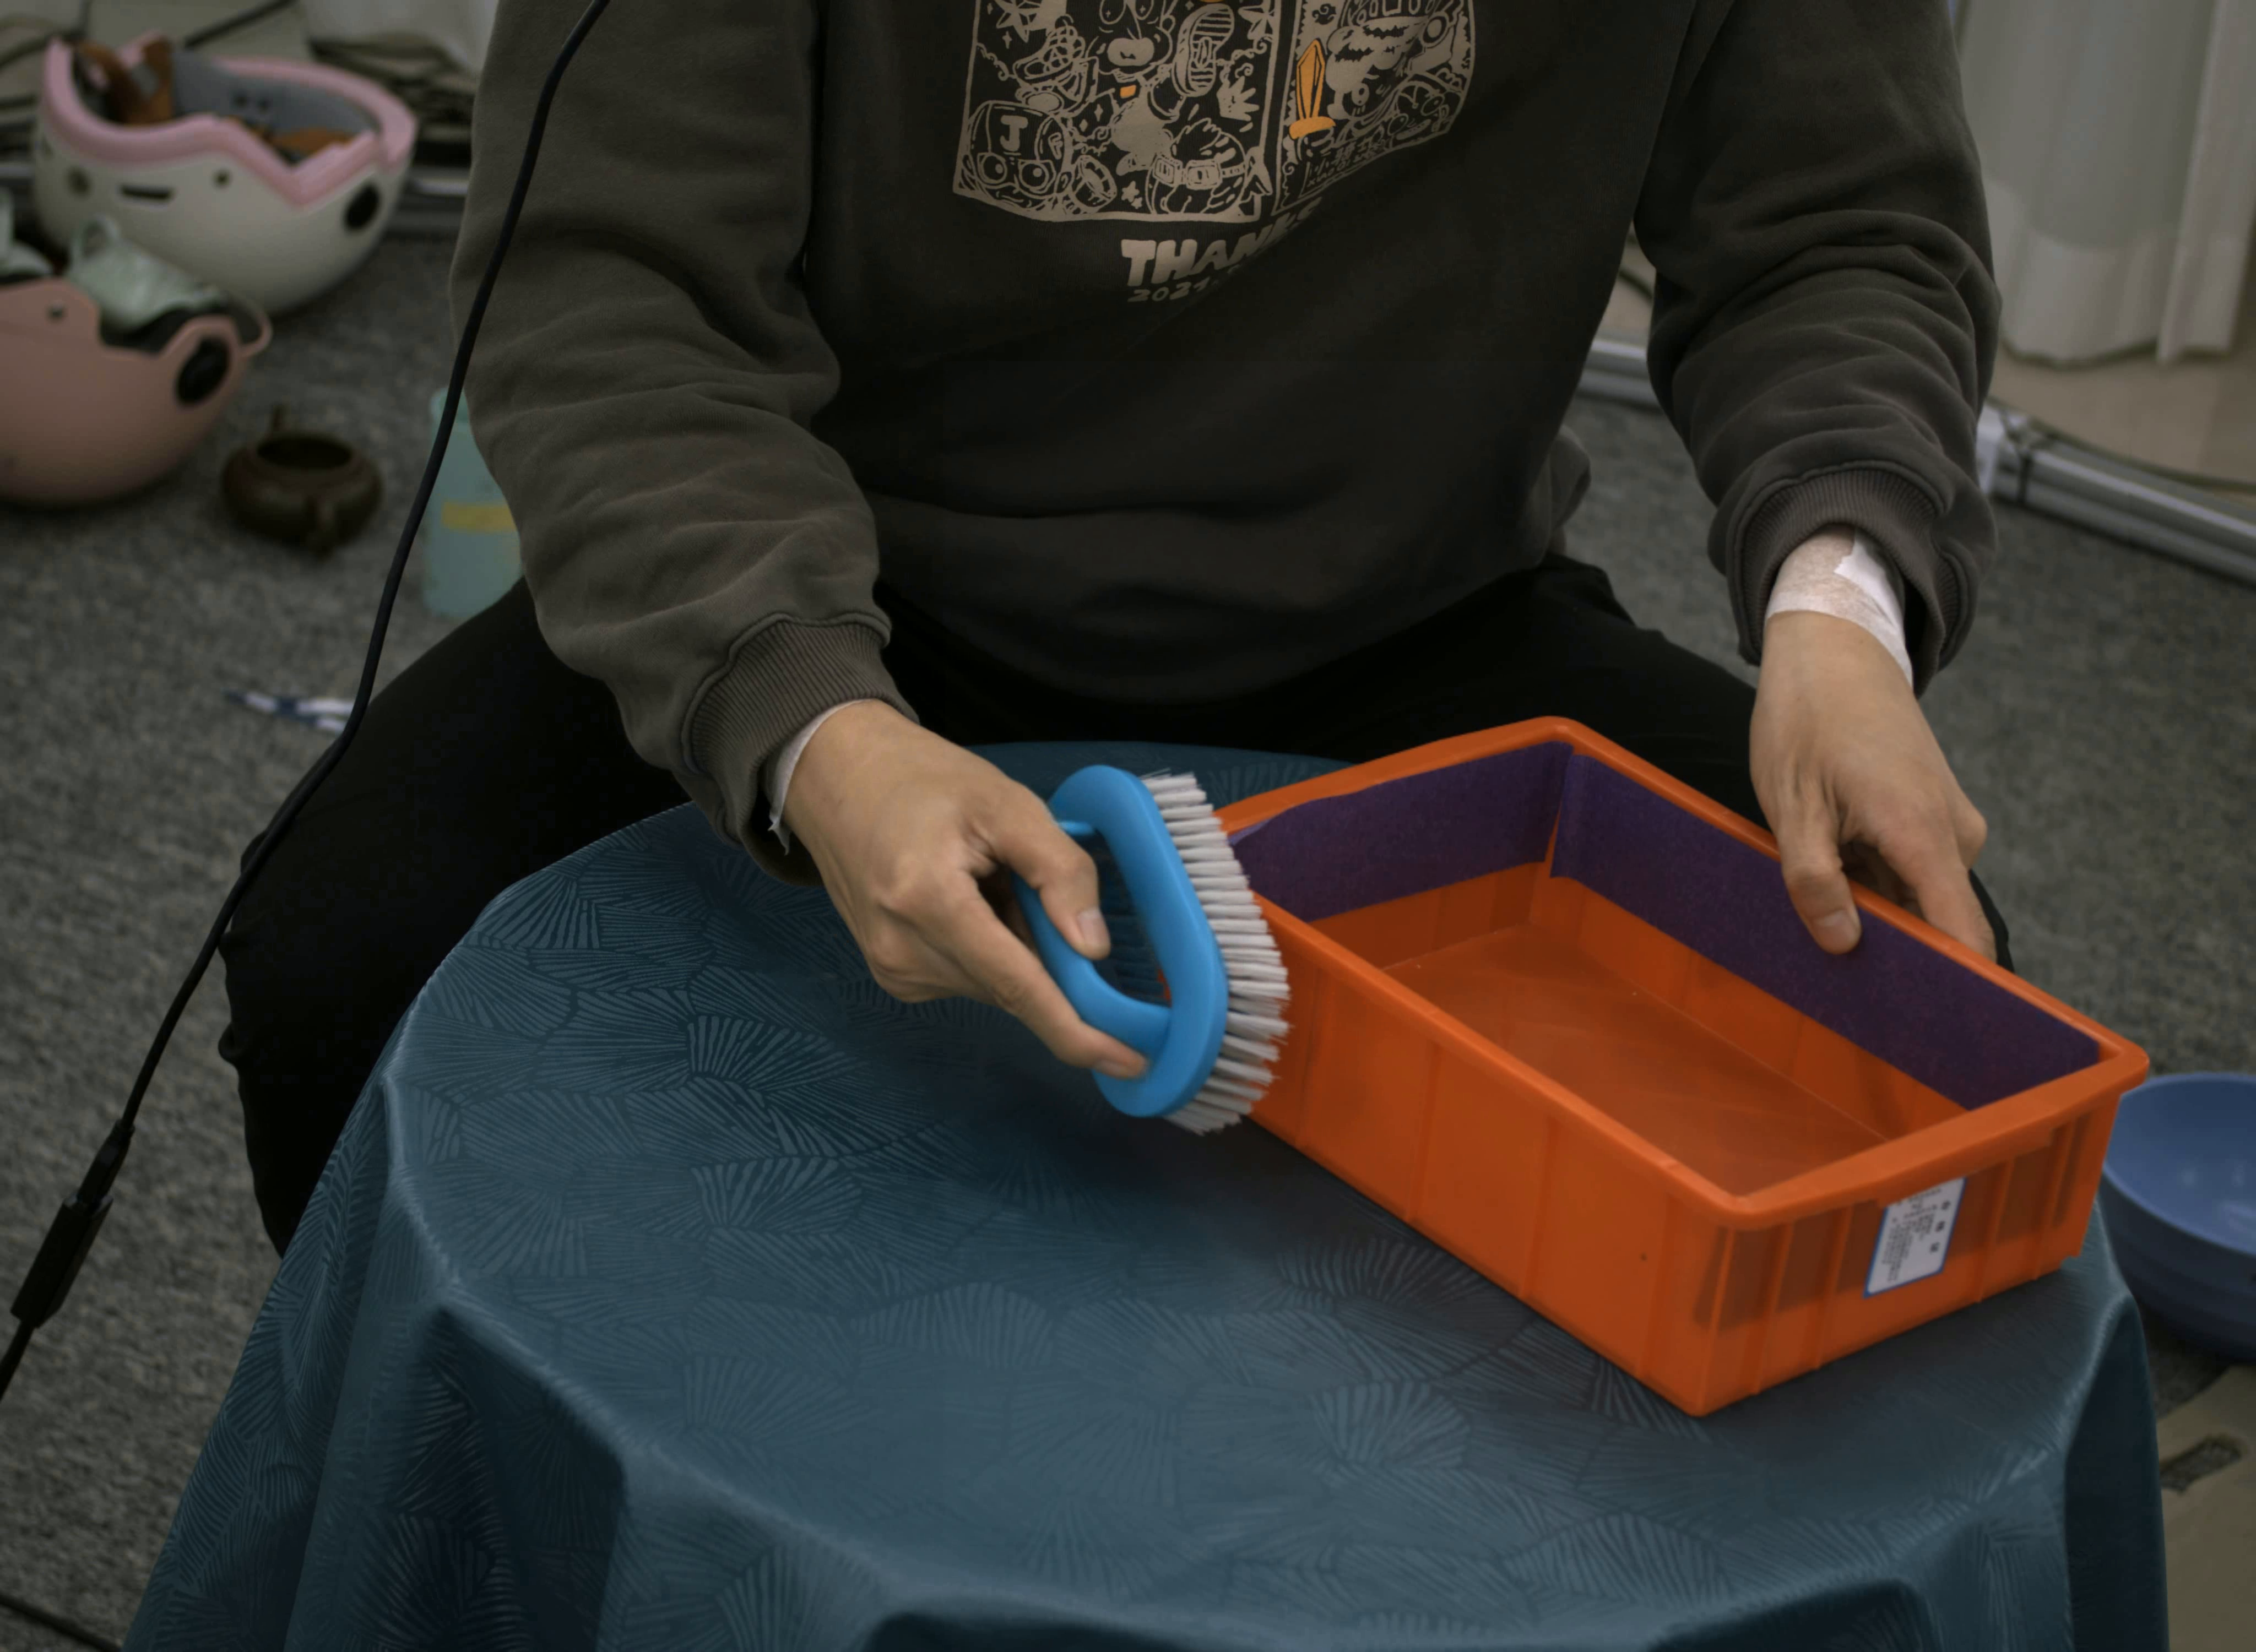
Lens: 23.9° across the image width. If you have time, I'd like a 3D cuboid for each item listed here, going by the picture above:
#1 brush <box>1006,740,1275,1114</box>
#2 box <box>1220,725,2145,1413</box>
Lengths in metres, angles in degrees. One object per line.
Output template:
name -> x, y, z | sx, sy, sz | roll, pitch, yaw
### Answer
brush -> -0.005, 0.035, 1.804 | 0.063, 0.084, 0.143 | 7, 46, -32
box -> 0.169, 0.079, 1.835 | 0.205, 0.096, 0.306 | -15, 34, -37
